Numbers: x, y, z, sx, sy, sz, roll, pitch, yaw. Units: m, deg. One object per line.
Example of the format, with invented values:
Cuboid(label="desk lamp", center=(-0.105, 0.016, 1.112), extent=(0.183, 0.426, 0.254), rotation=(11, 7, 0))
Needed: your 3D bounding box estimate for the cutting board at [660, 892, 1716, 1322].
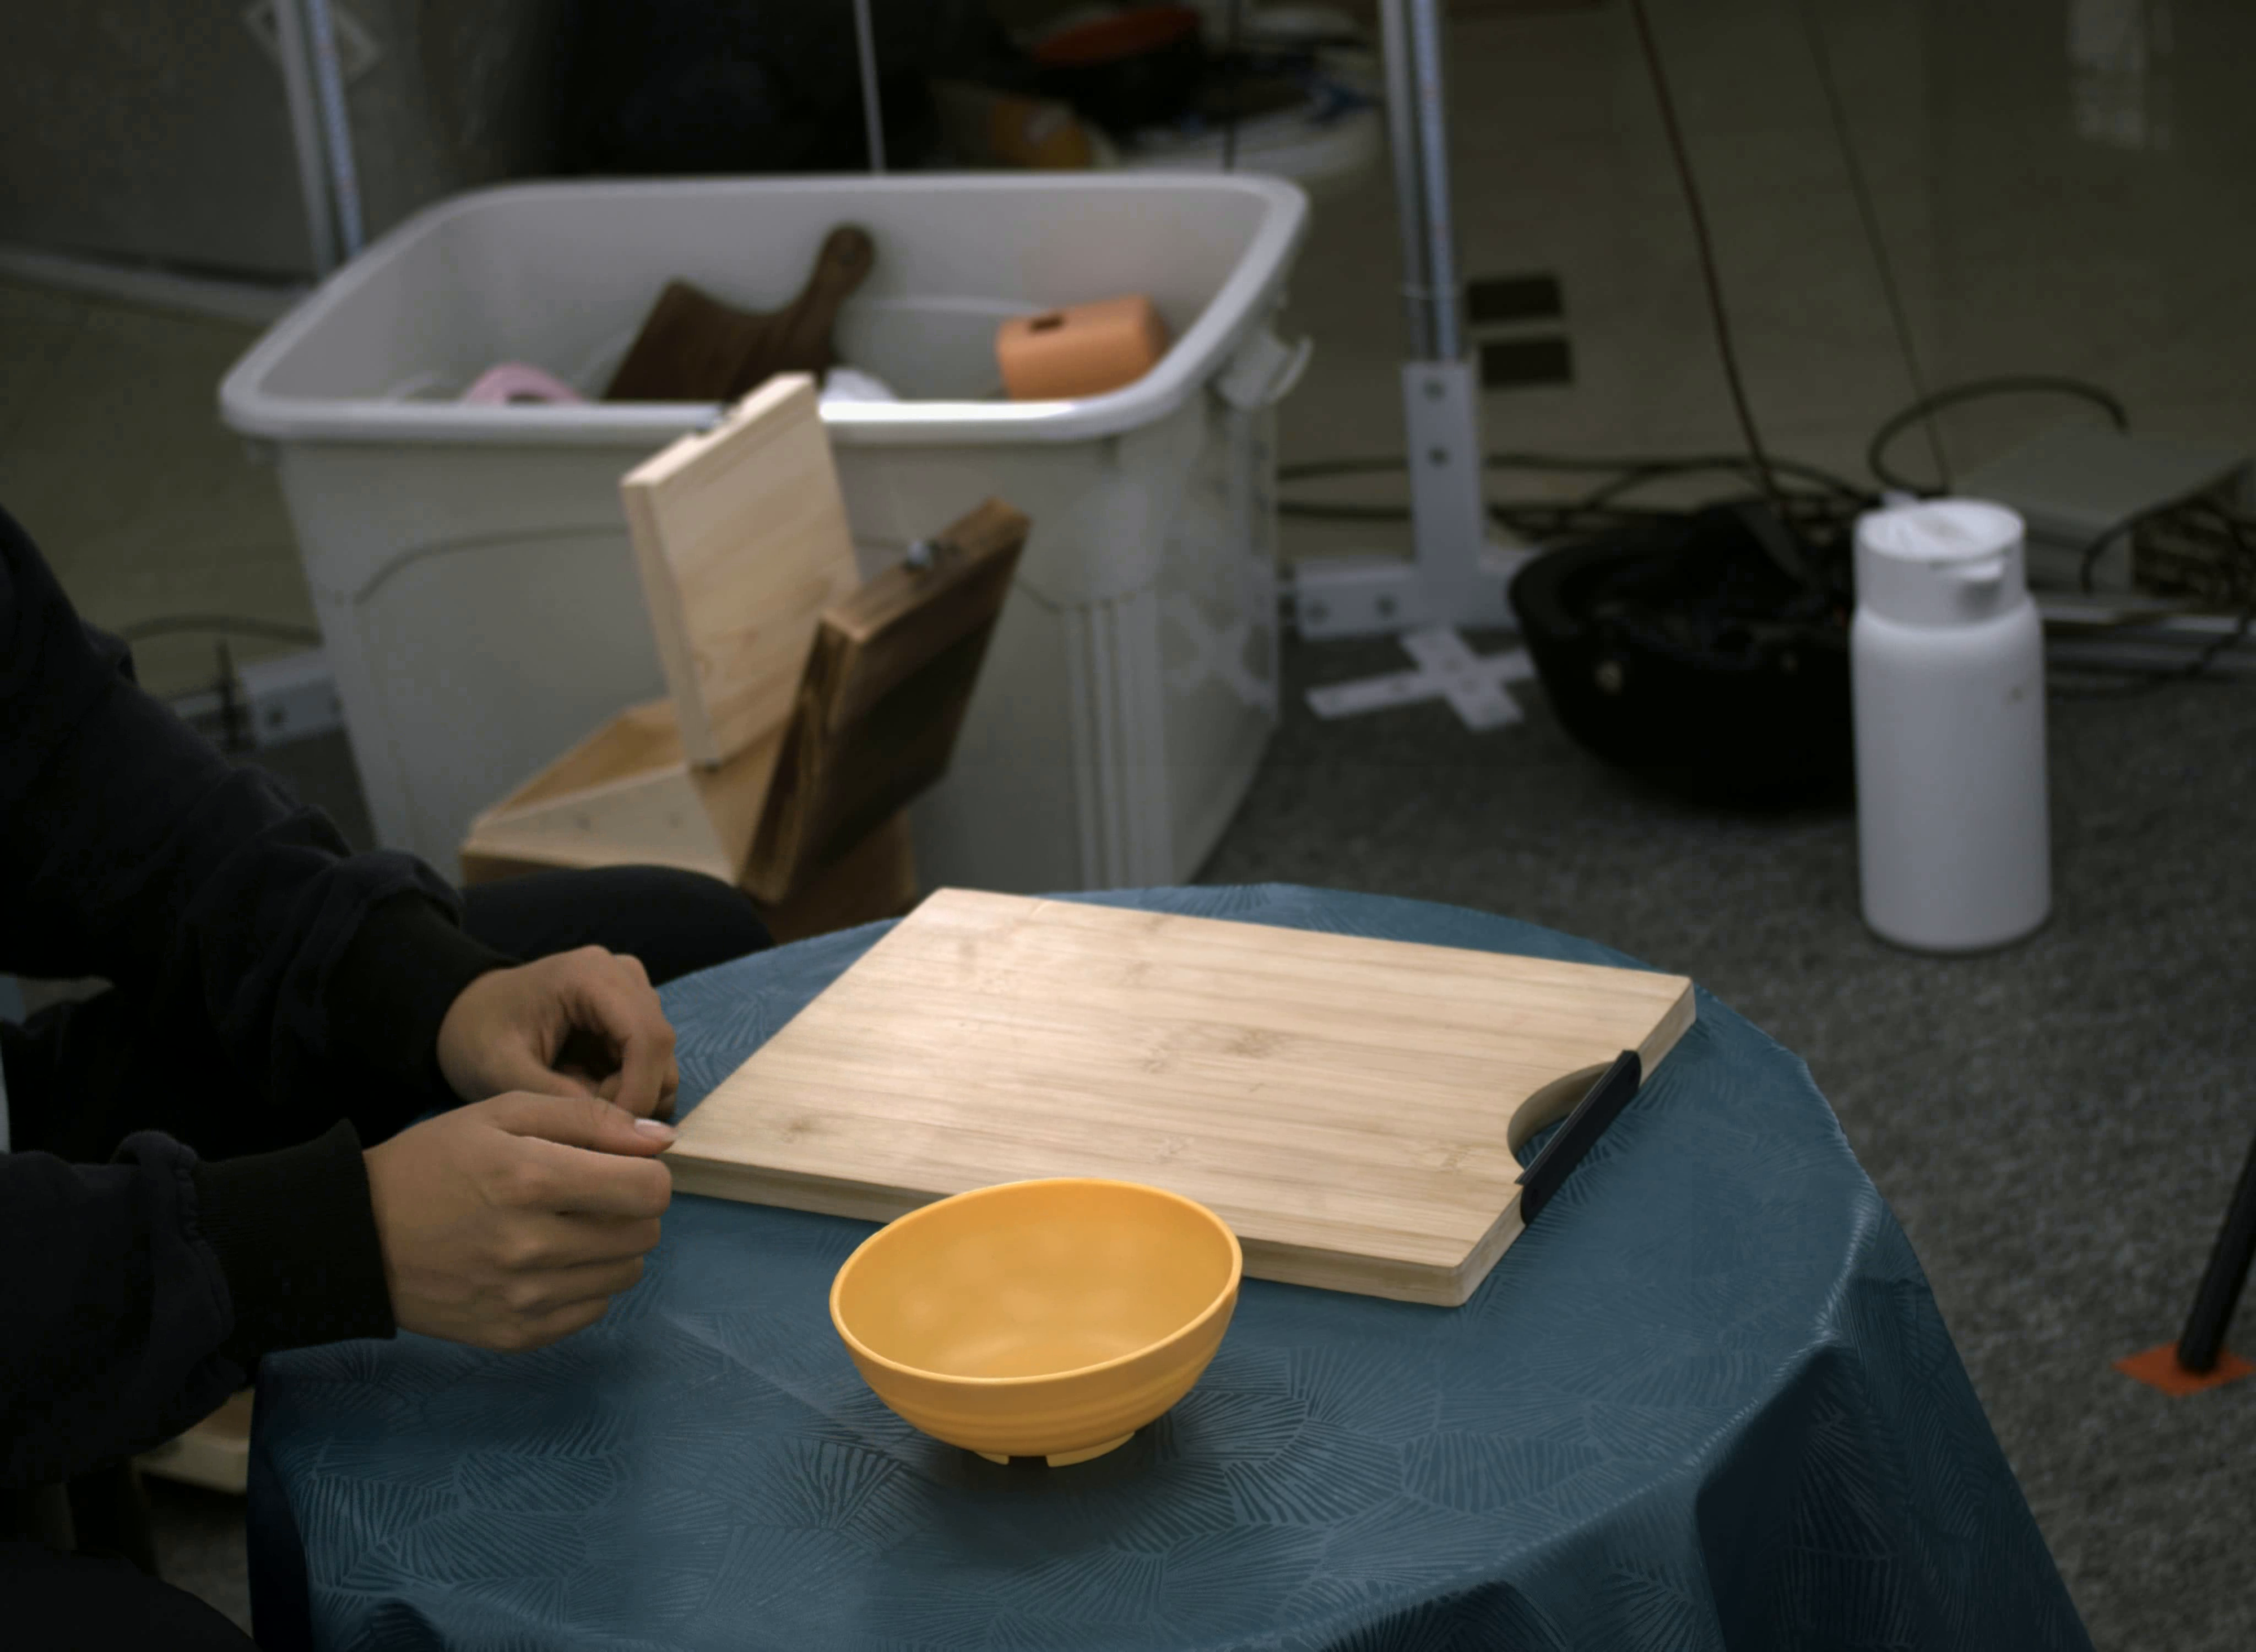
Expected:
Cuboid(label="cutting board", center=(0.025, 0.103, 2.206), extent=(0.347, 0.024, 0.247), rotation=(6, 28, 25))

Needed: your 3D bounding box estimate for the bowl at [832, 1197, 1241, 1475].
Cuboid(label="bowl", center=(-0.029, 0.186, 1.993), extent=(0.145, 0.061, 0.143), rotation=(-6, 22, 2))
